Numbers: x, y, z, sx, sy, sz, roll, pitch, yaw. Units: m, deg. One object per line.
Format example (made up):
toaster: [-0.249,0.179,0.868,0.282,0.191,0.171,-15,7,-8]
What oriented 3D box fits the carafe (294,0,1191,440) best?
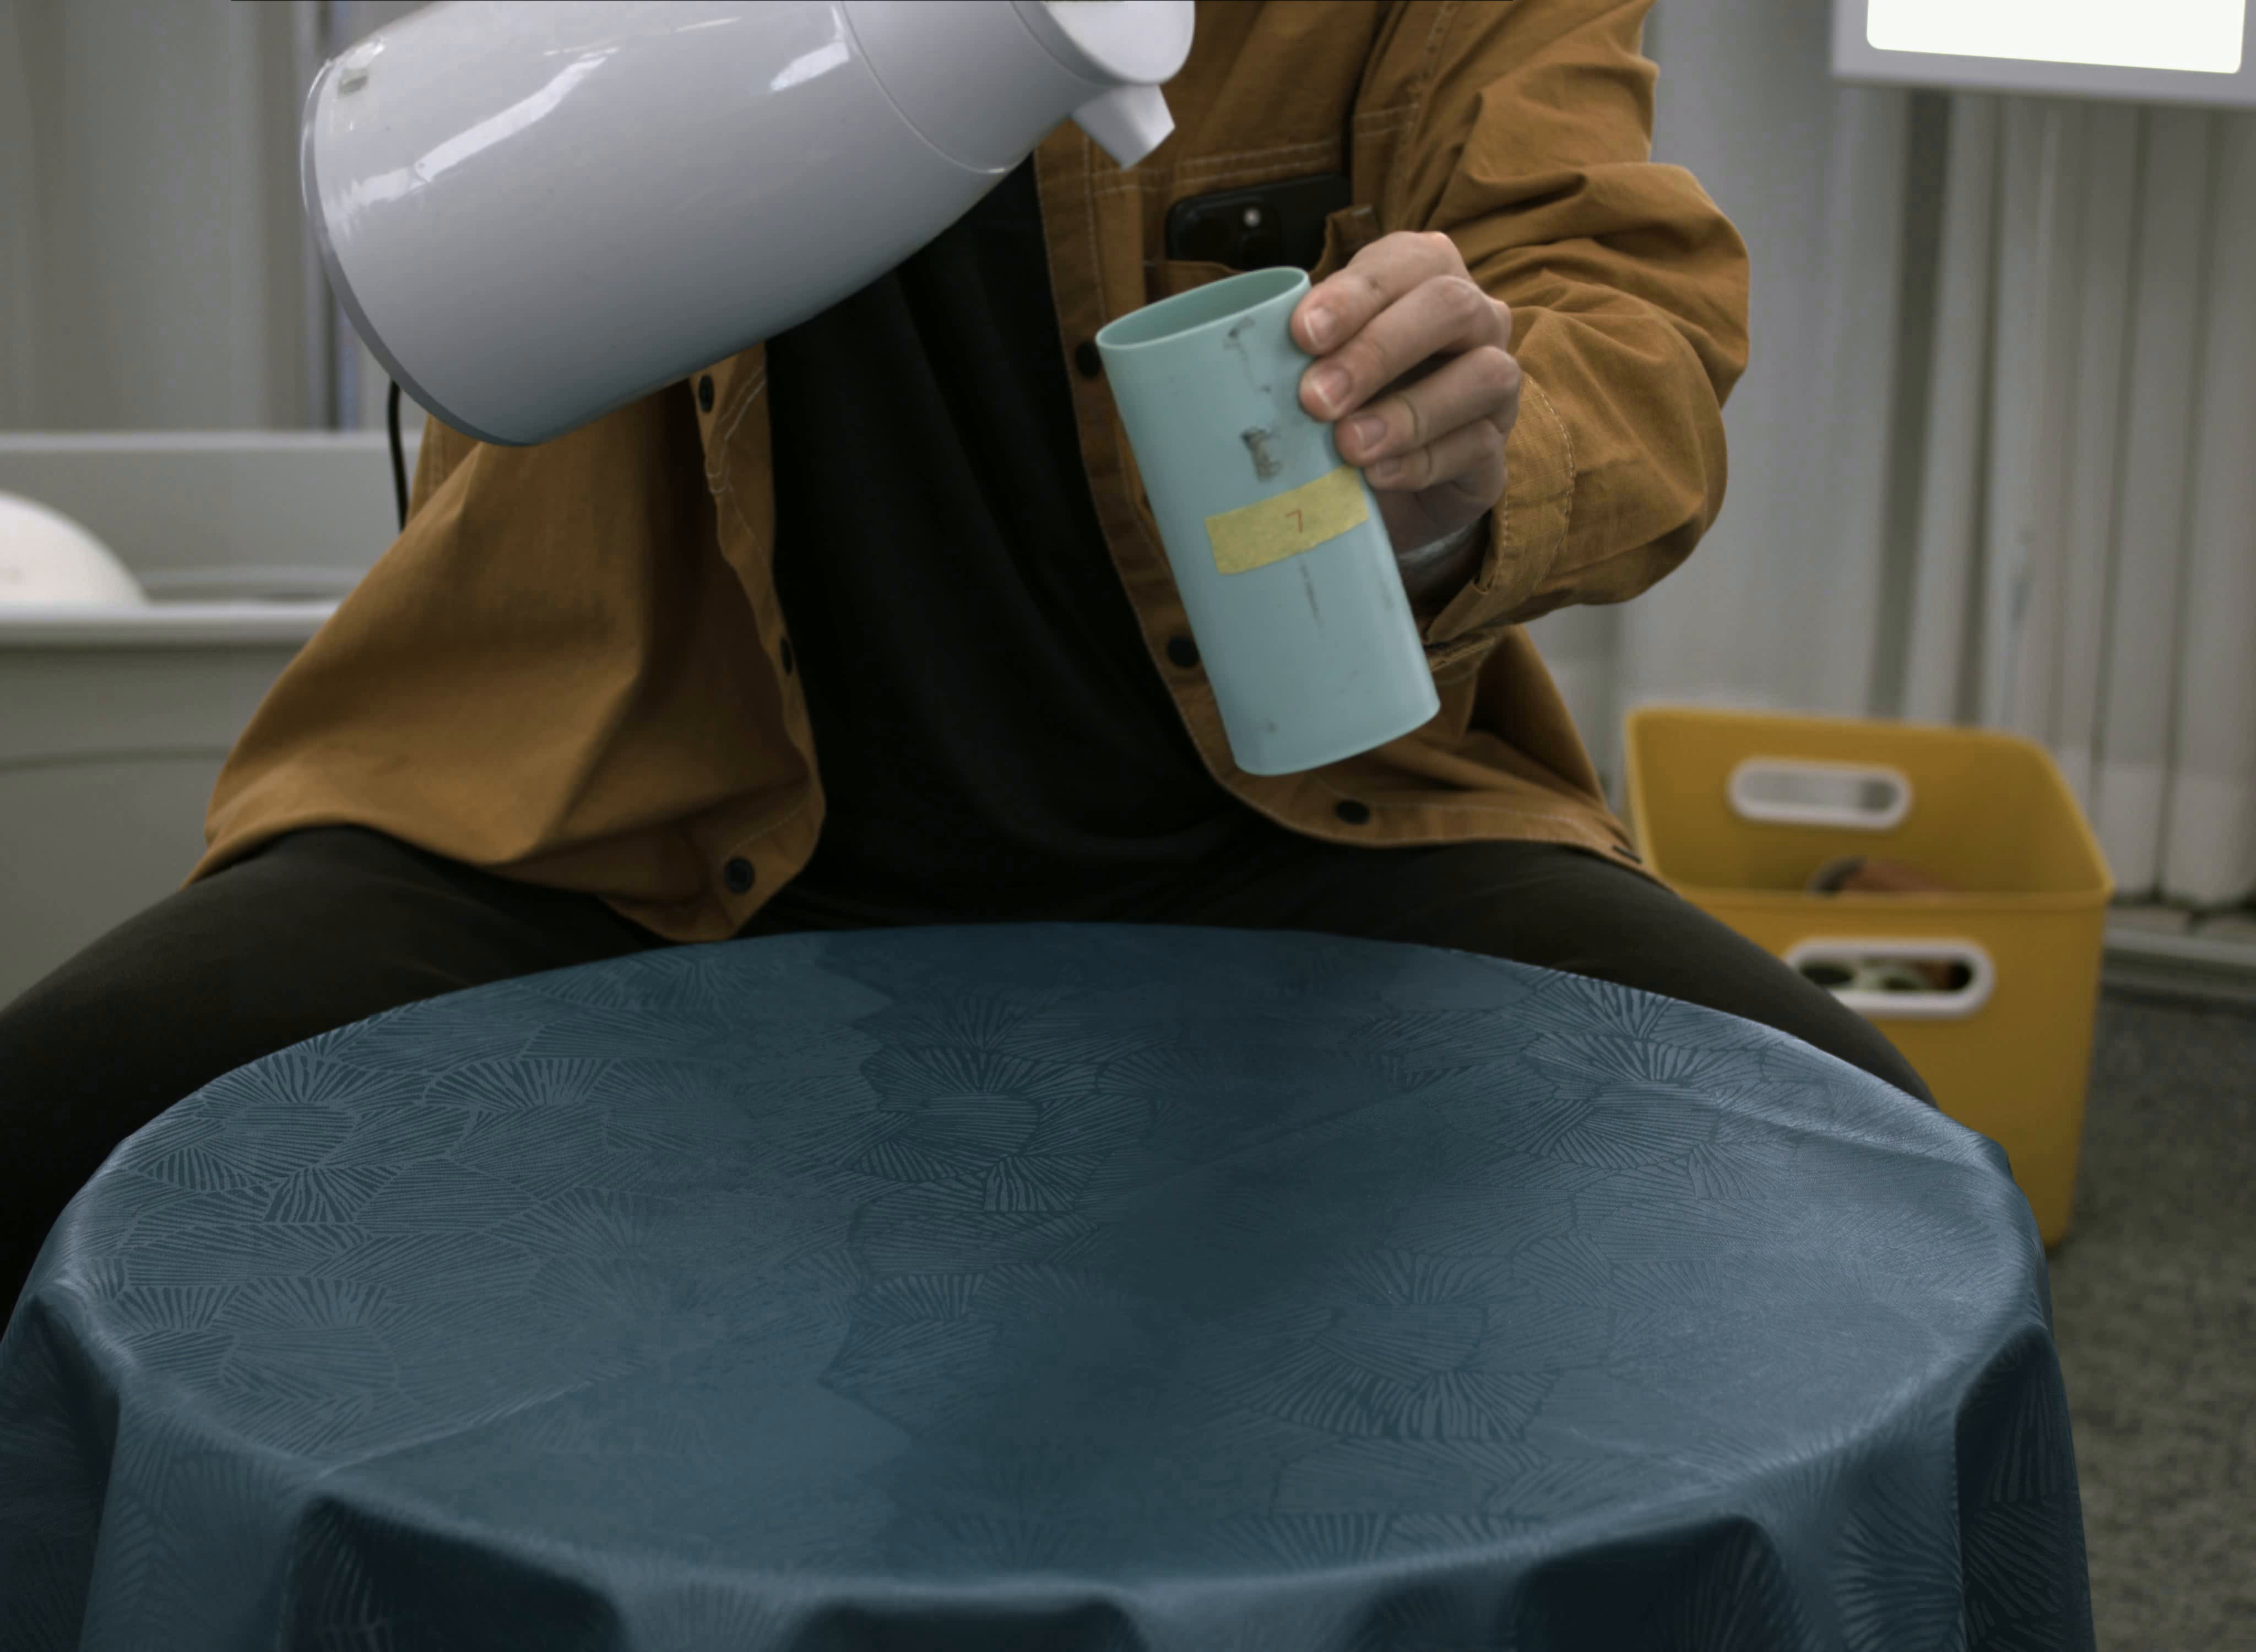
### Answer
carafe: [-0.112,-0.228,1.485,0.247,0.169,0.132,-21,20,32]

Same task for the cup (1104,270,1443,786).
cup: [0.041,-0.085,1.487,0.066,0.133,0.066,-16,16,5]
